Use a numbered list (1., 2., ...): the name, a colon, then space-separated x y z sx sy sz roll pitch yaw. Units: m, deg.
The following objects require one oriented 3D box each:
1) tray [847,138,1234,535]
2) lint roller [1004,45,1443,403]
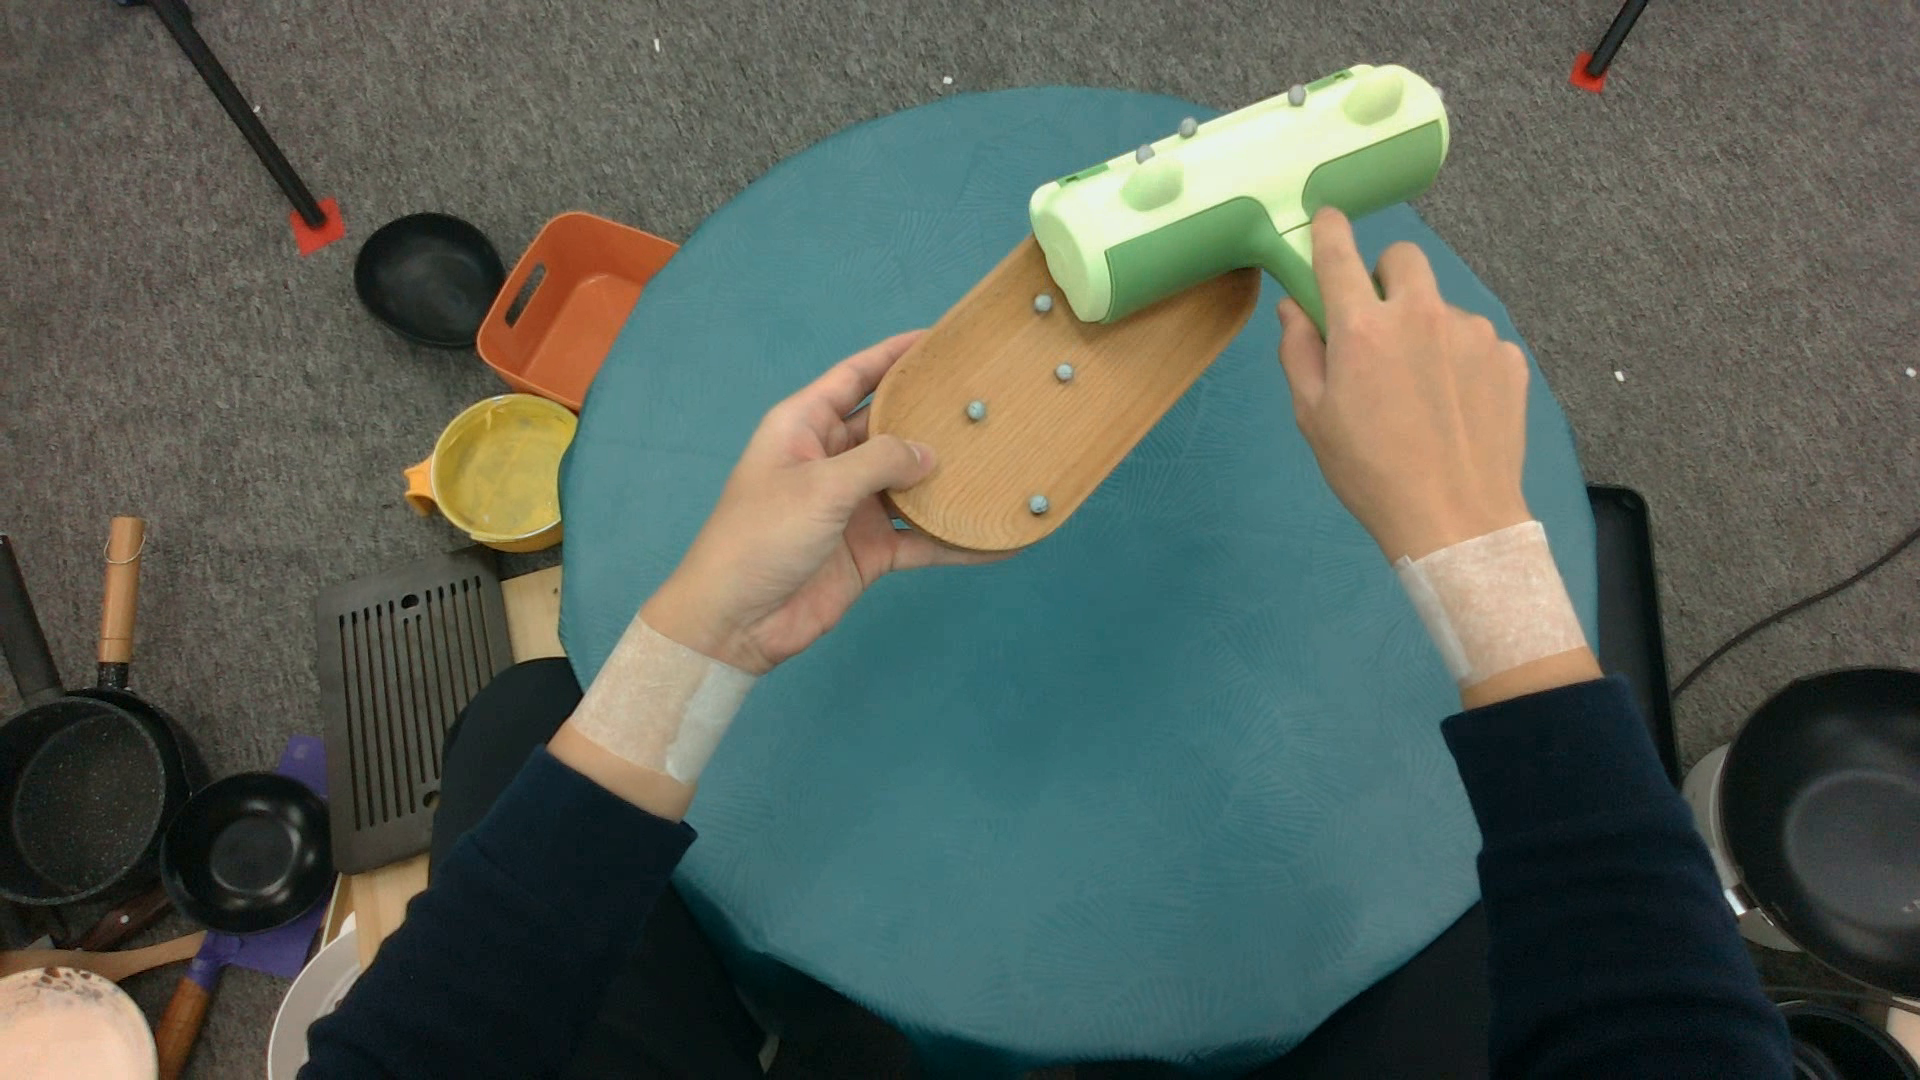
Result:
1. tray: 0.040 -0.095 0.619 0.101 0.020 0.232 42 65 -1
2. lint roller: 0.145 -0.138 0.591 0.199 0.082 0.183 -26 53 -17
